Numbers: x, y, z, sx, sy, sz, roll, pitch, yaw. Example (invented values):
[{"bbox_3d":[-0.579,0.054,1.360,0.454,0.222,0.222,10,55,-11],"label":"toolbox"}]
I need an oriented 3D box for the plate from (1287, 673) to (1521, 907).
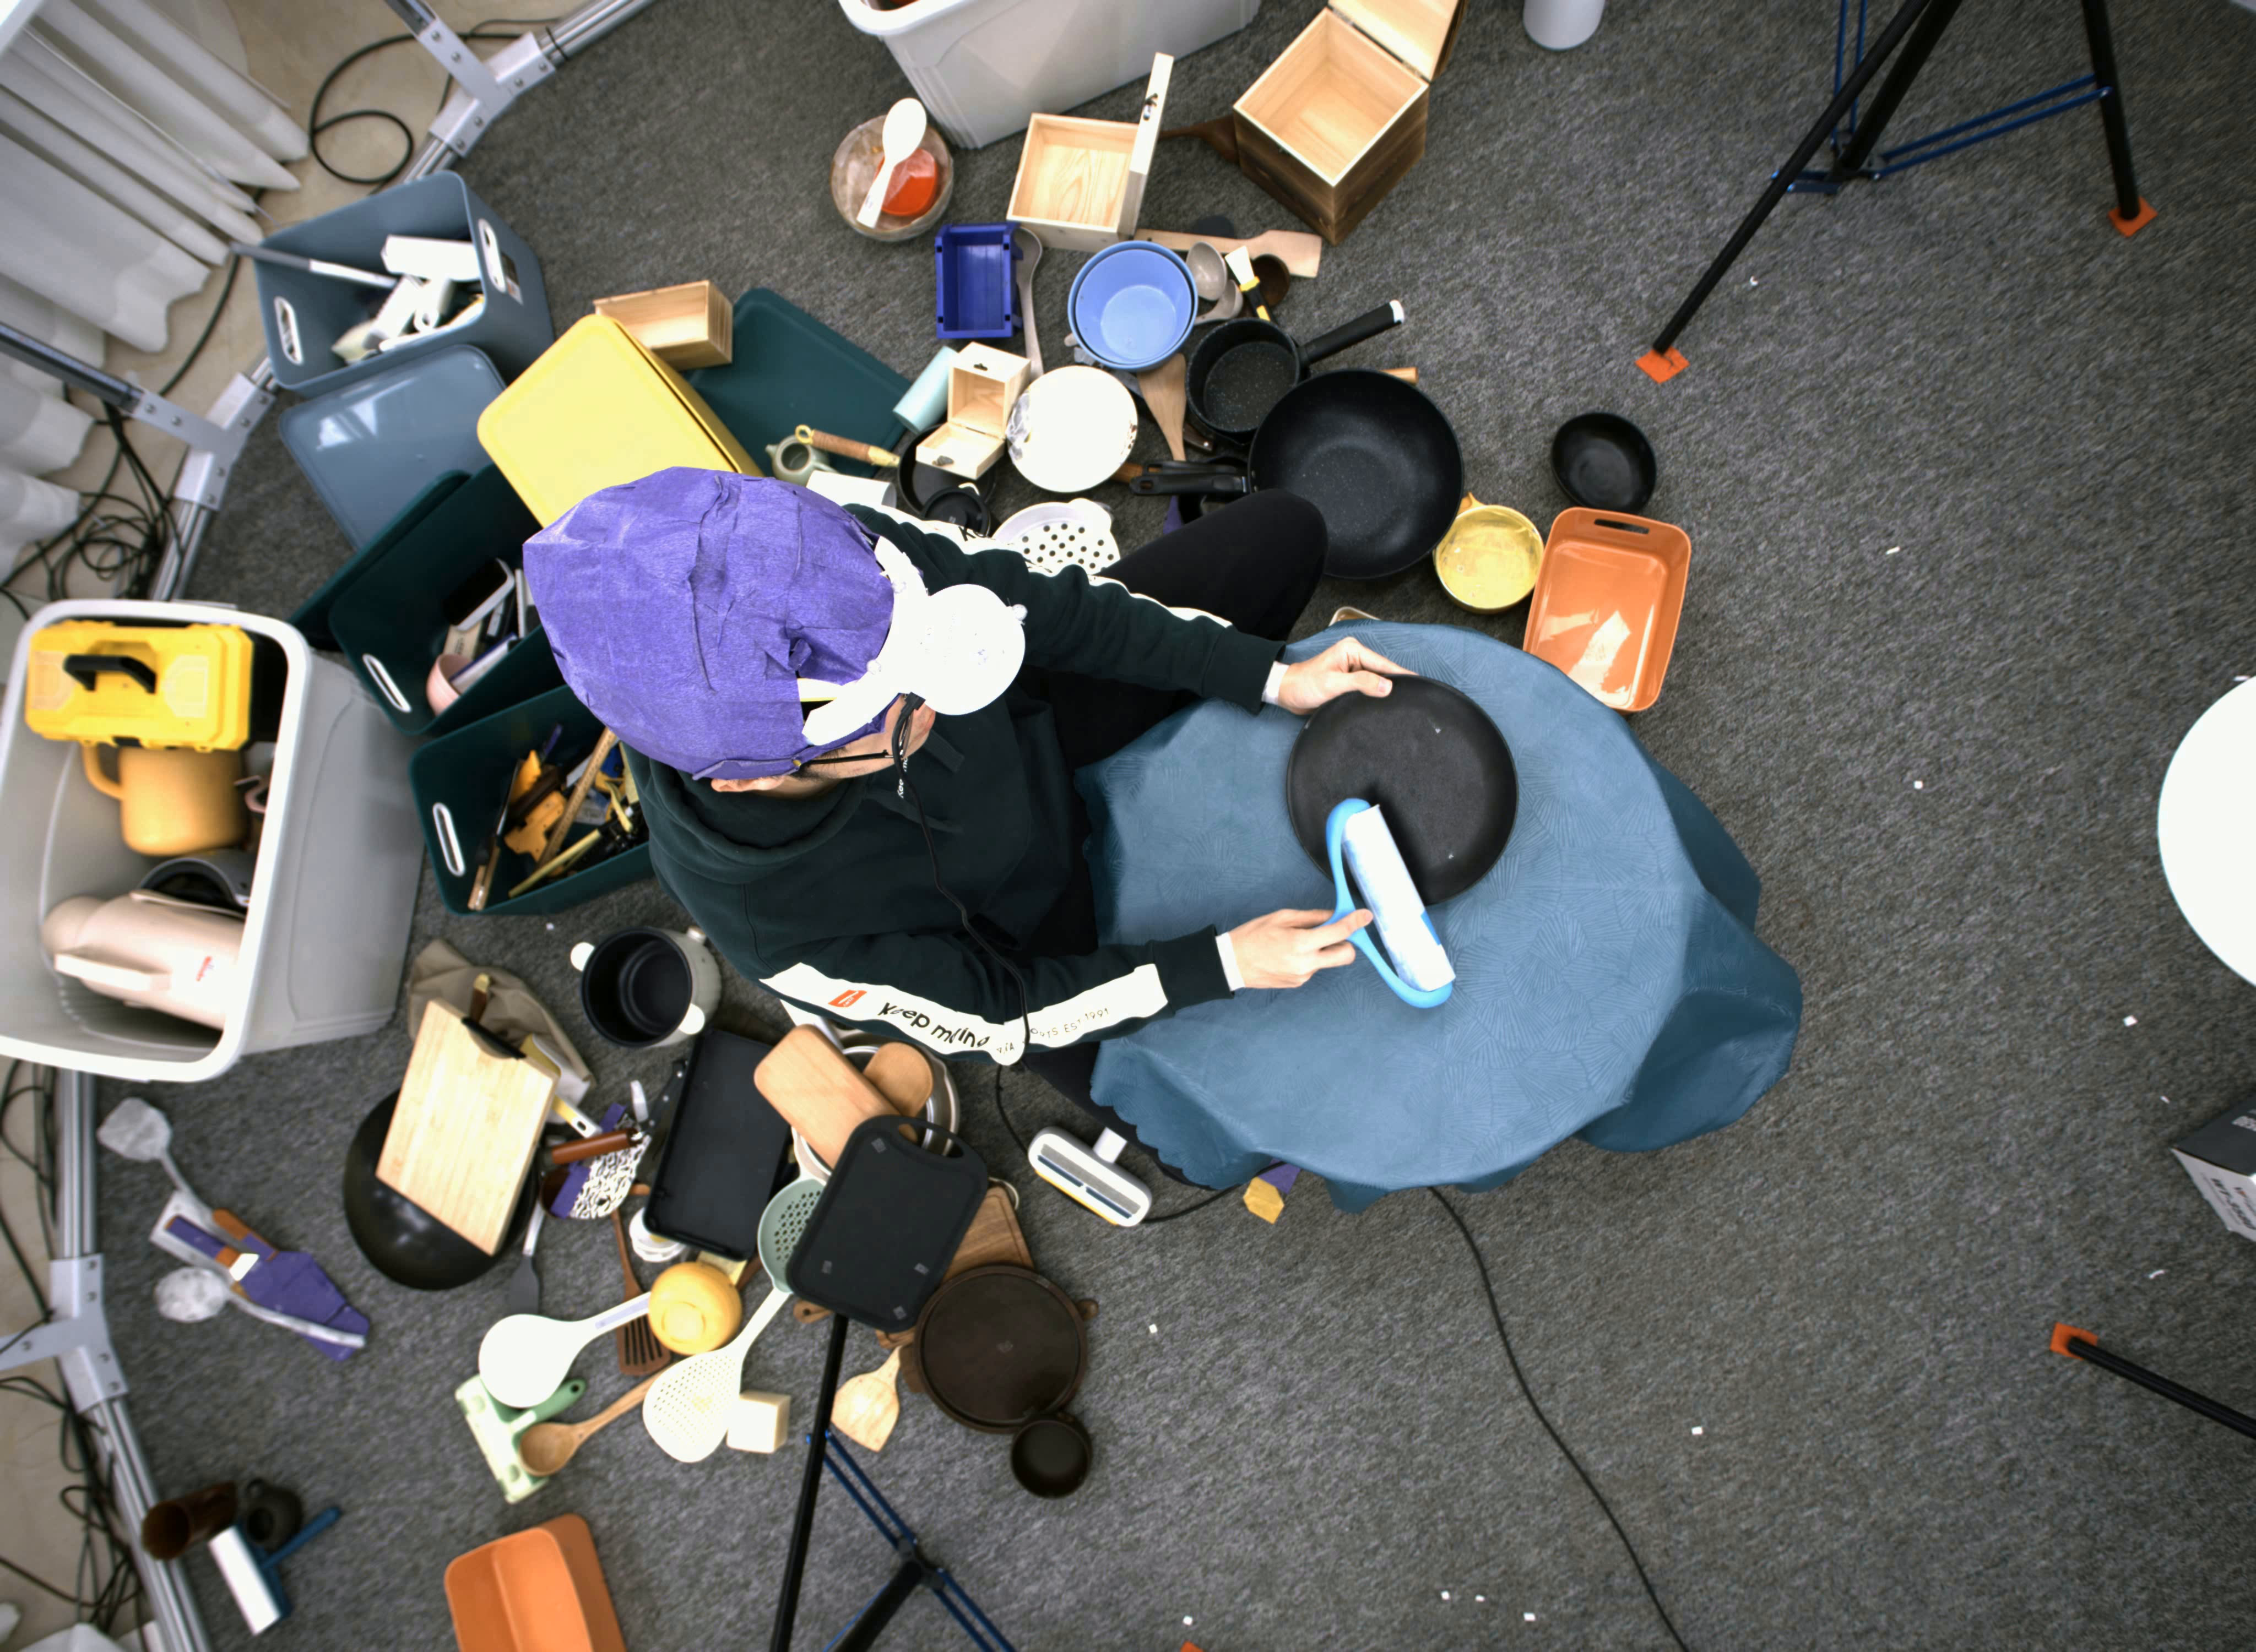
[{"bbox_3d":[0.282,-0.037,1.413,0.245,0.023,0.247,6,106,24],"label":"plate"}]

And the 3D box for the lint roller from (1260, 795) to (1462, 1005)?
[{"bbox_3d":[0.221,0.100,1.405,0.180,0.068,0.229,-27,90,0],"label":"lint roller"}]
